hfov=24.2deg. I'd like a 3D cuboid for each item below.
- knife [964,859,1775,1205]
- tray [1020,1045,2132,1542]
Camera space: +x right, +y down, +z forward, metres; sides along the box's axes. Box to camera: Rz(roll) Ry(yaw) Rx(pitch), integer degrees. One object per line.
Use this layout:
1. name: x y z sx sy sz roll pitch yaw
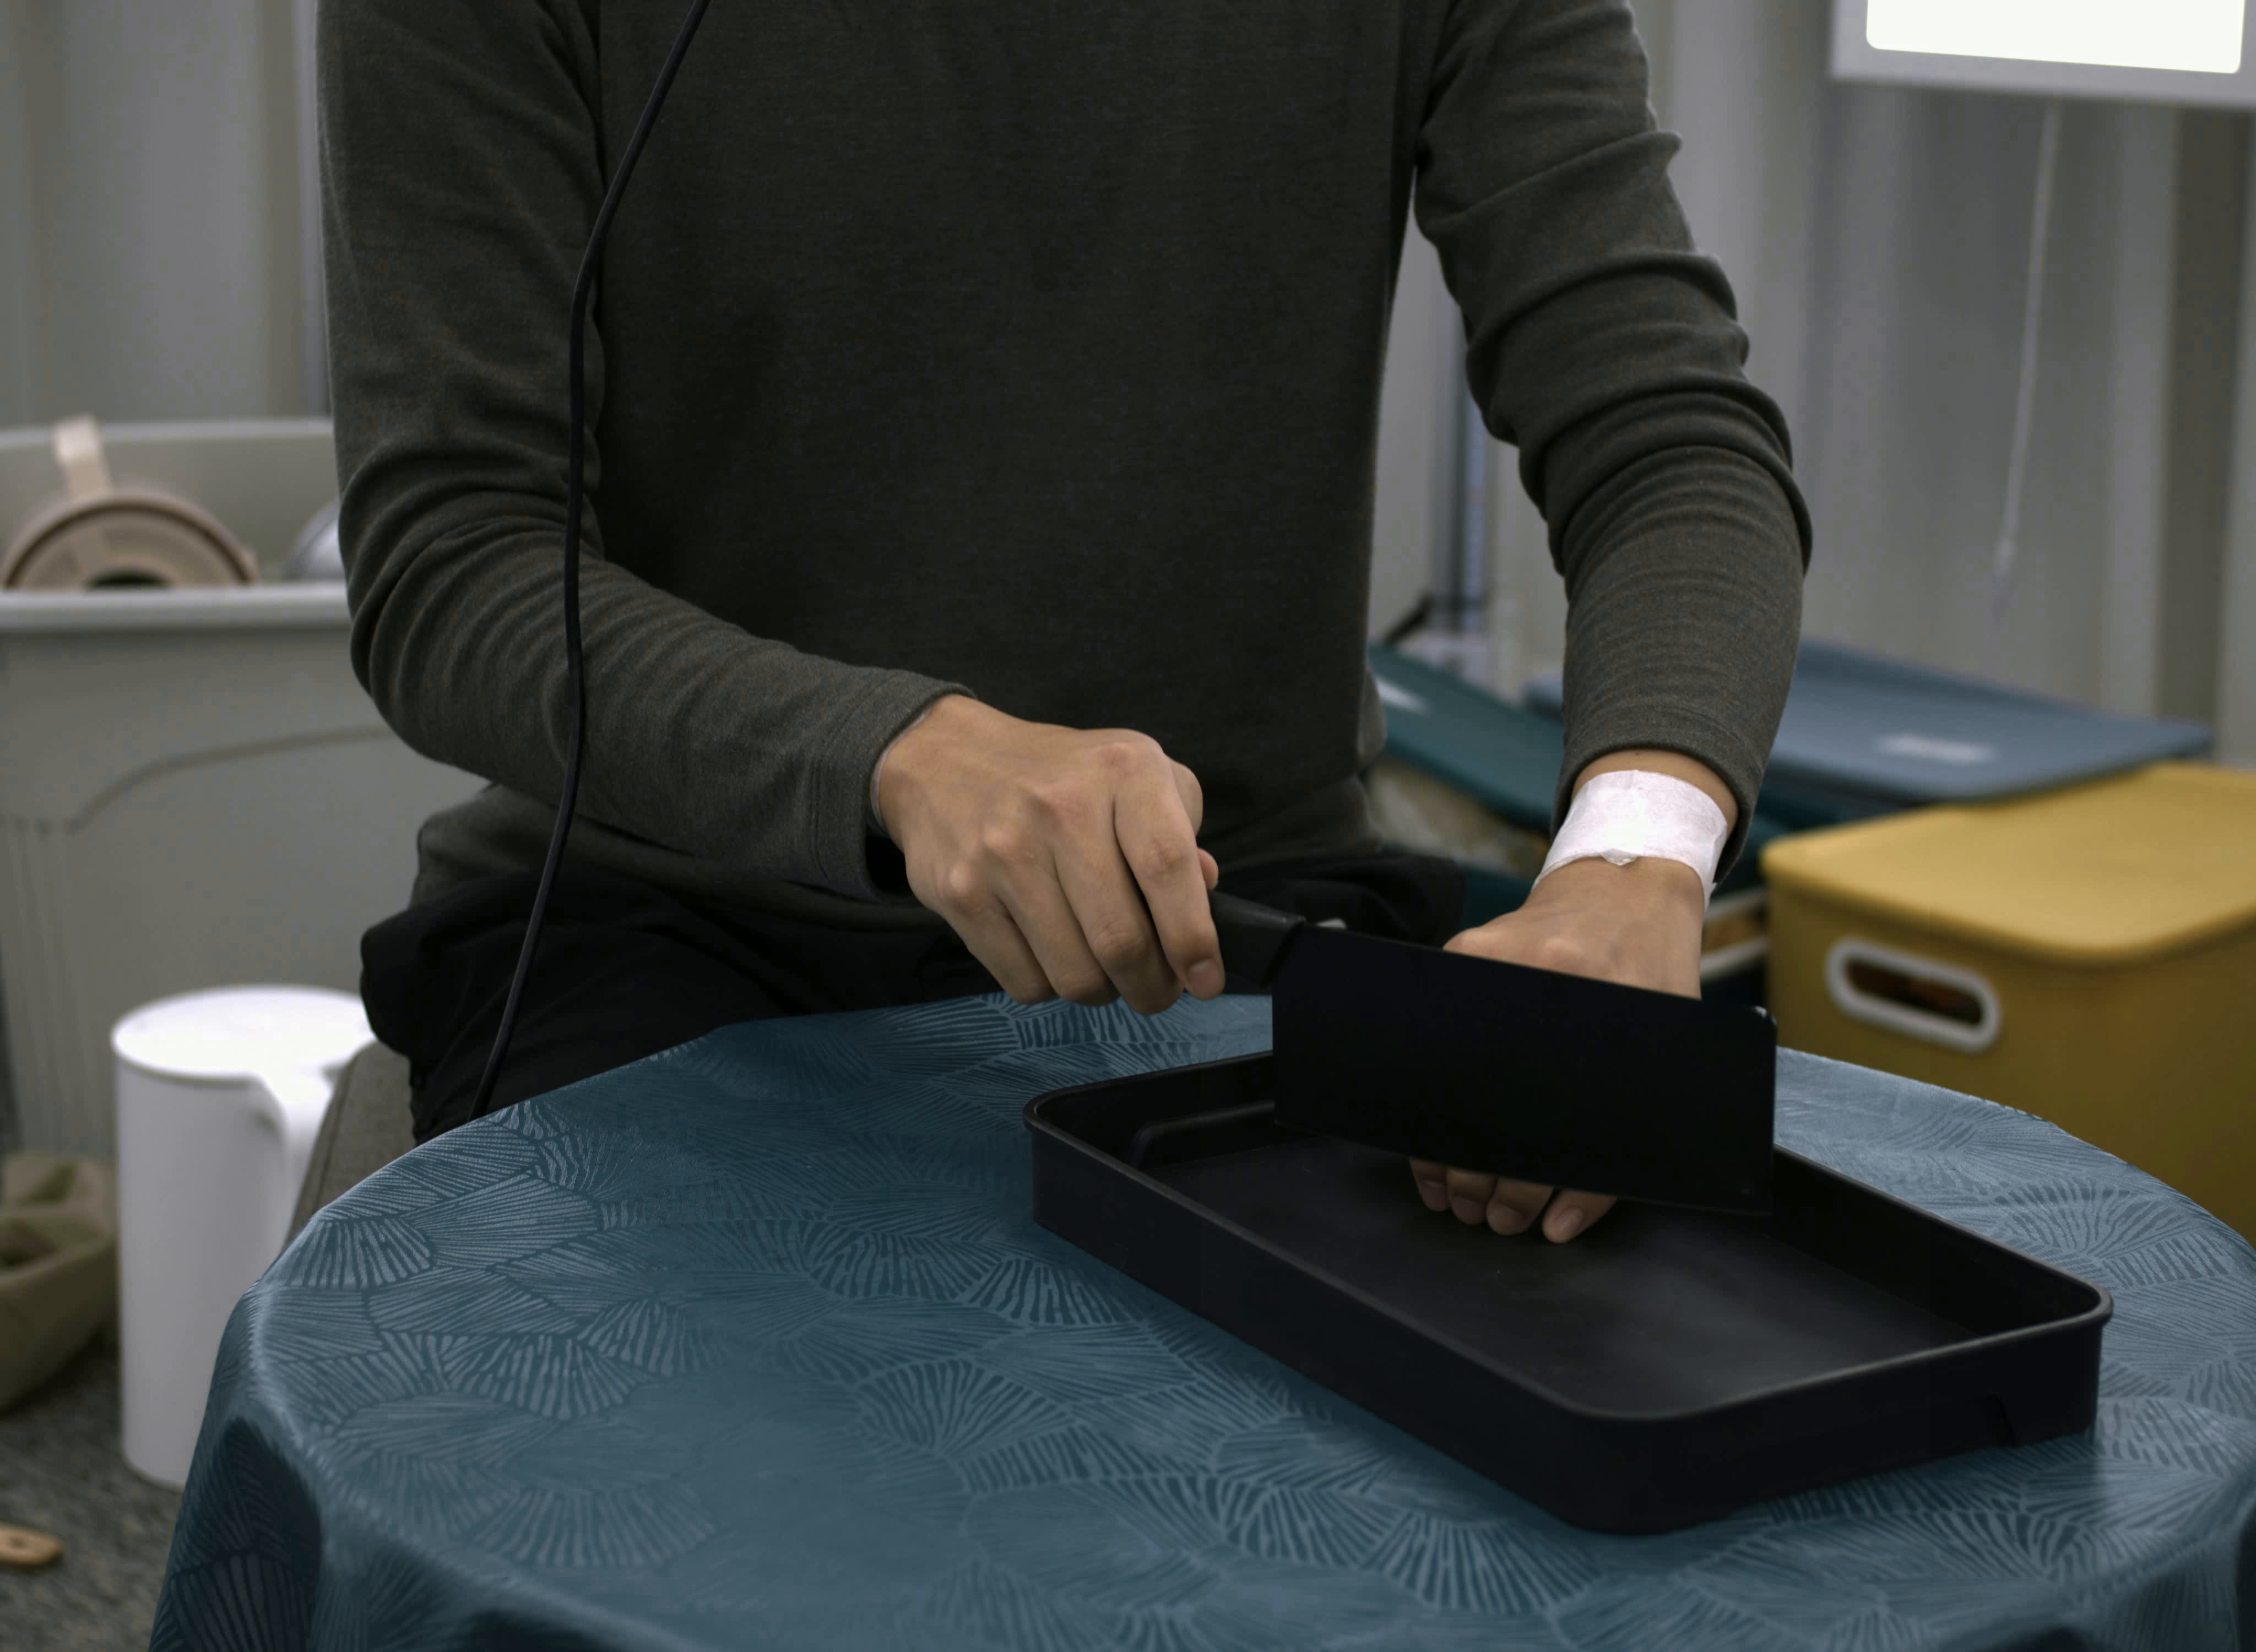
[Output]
1. knife: 0.068 0.057 1.582 0.298 0.081 0.021 15 20 36
2. tray: 0.121 0.123 1.520 0.185 0.037 0.314 -9 18 -32
